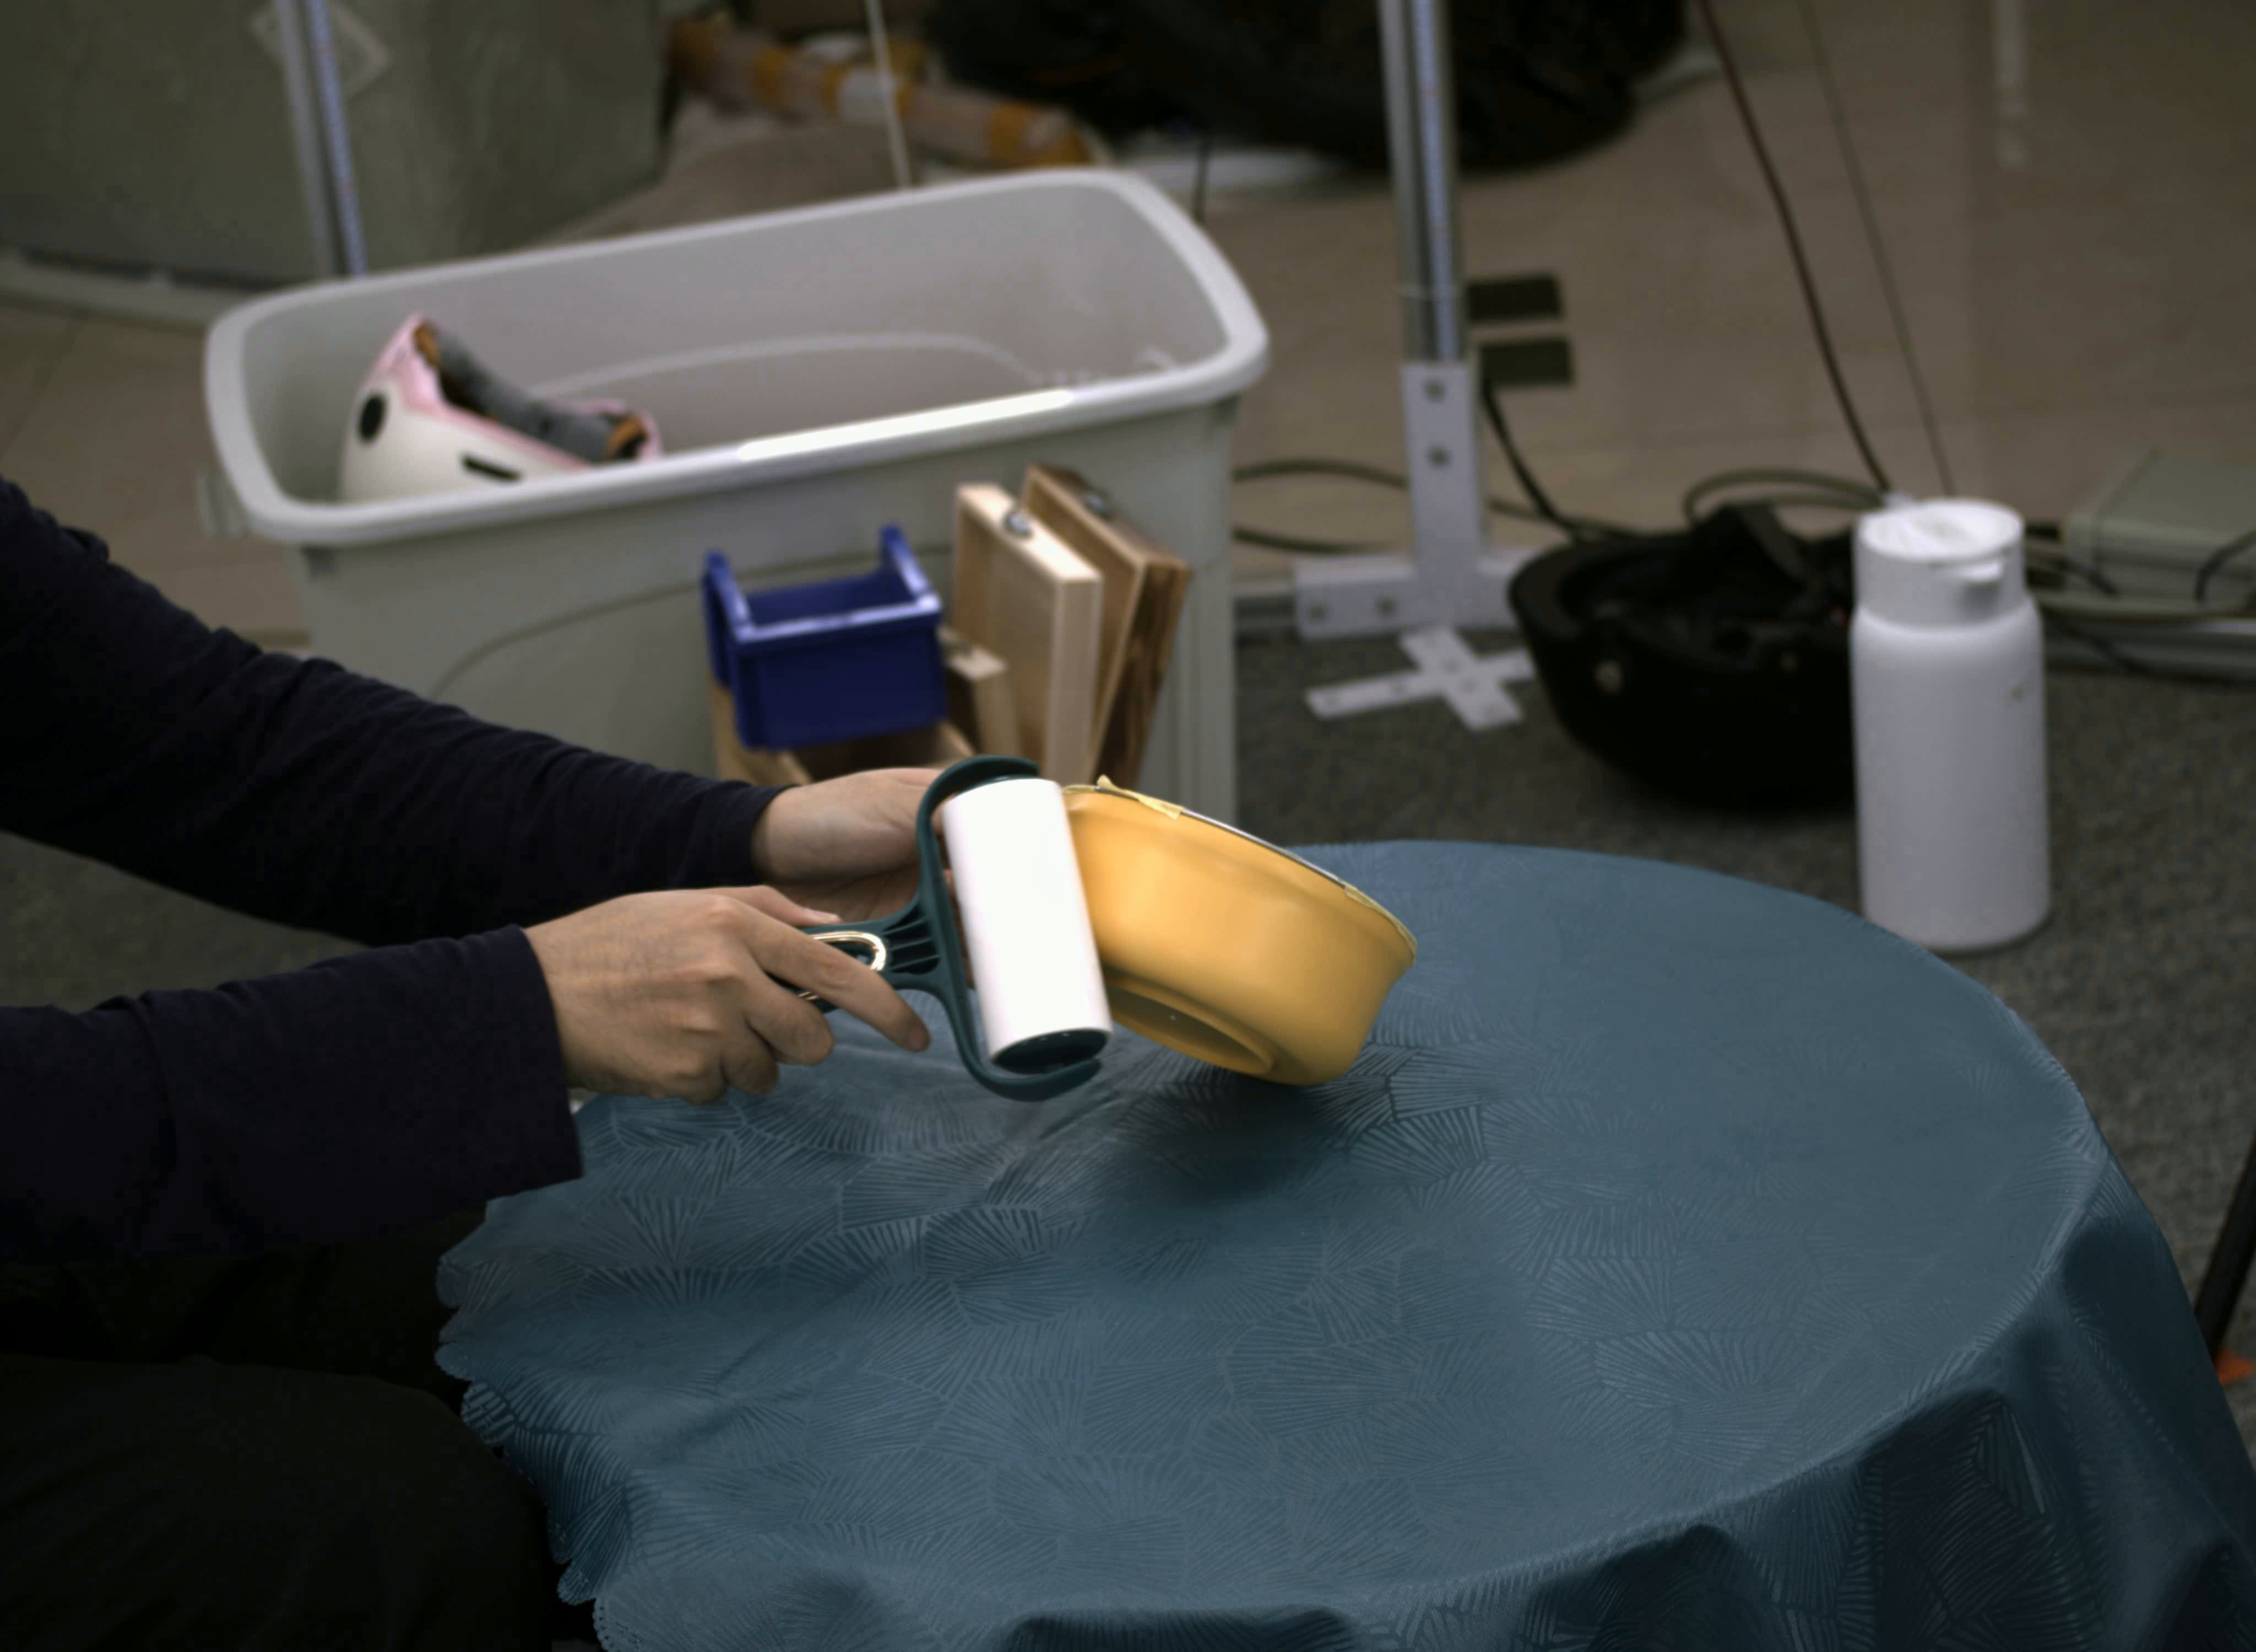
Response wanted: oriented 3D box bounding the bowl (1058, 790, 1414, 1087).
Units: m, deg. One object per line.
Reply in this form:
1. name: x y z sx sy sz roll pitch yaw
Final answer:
1. bowl: 0.016 0.044 2.189 0.178 0.074 0.154 20 -9 15

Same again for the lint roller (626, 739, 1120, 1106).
1. lint roller: -0.101 0.051 2.110 0.180 0.133 0.049 -12 -16 -2
